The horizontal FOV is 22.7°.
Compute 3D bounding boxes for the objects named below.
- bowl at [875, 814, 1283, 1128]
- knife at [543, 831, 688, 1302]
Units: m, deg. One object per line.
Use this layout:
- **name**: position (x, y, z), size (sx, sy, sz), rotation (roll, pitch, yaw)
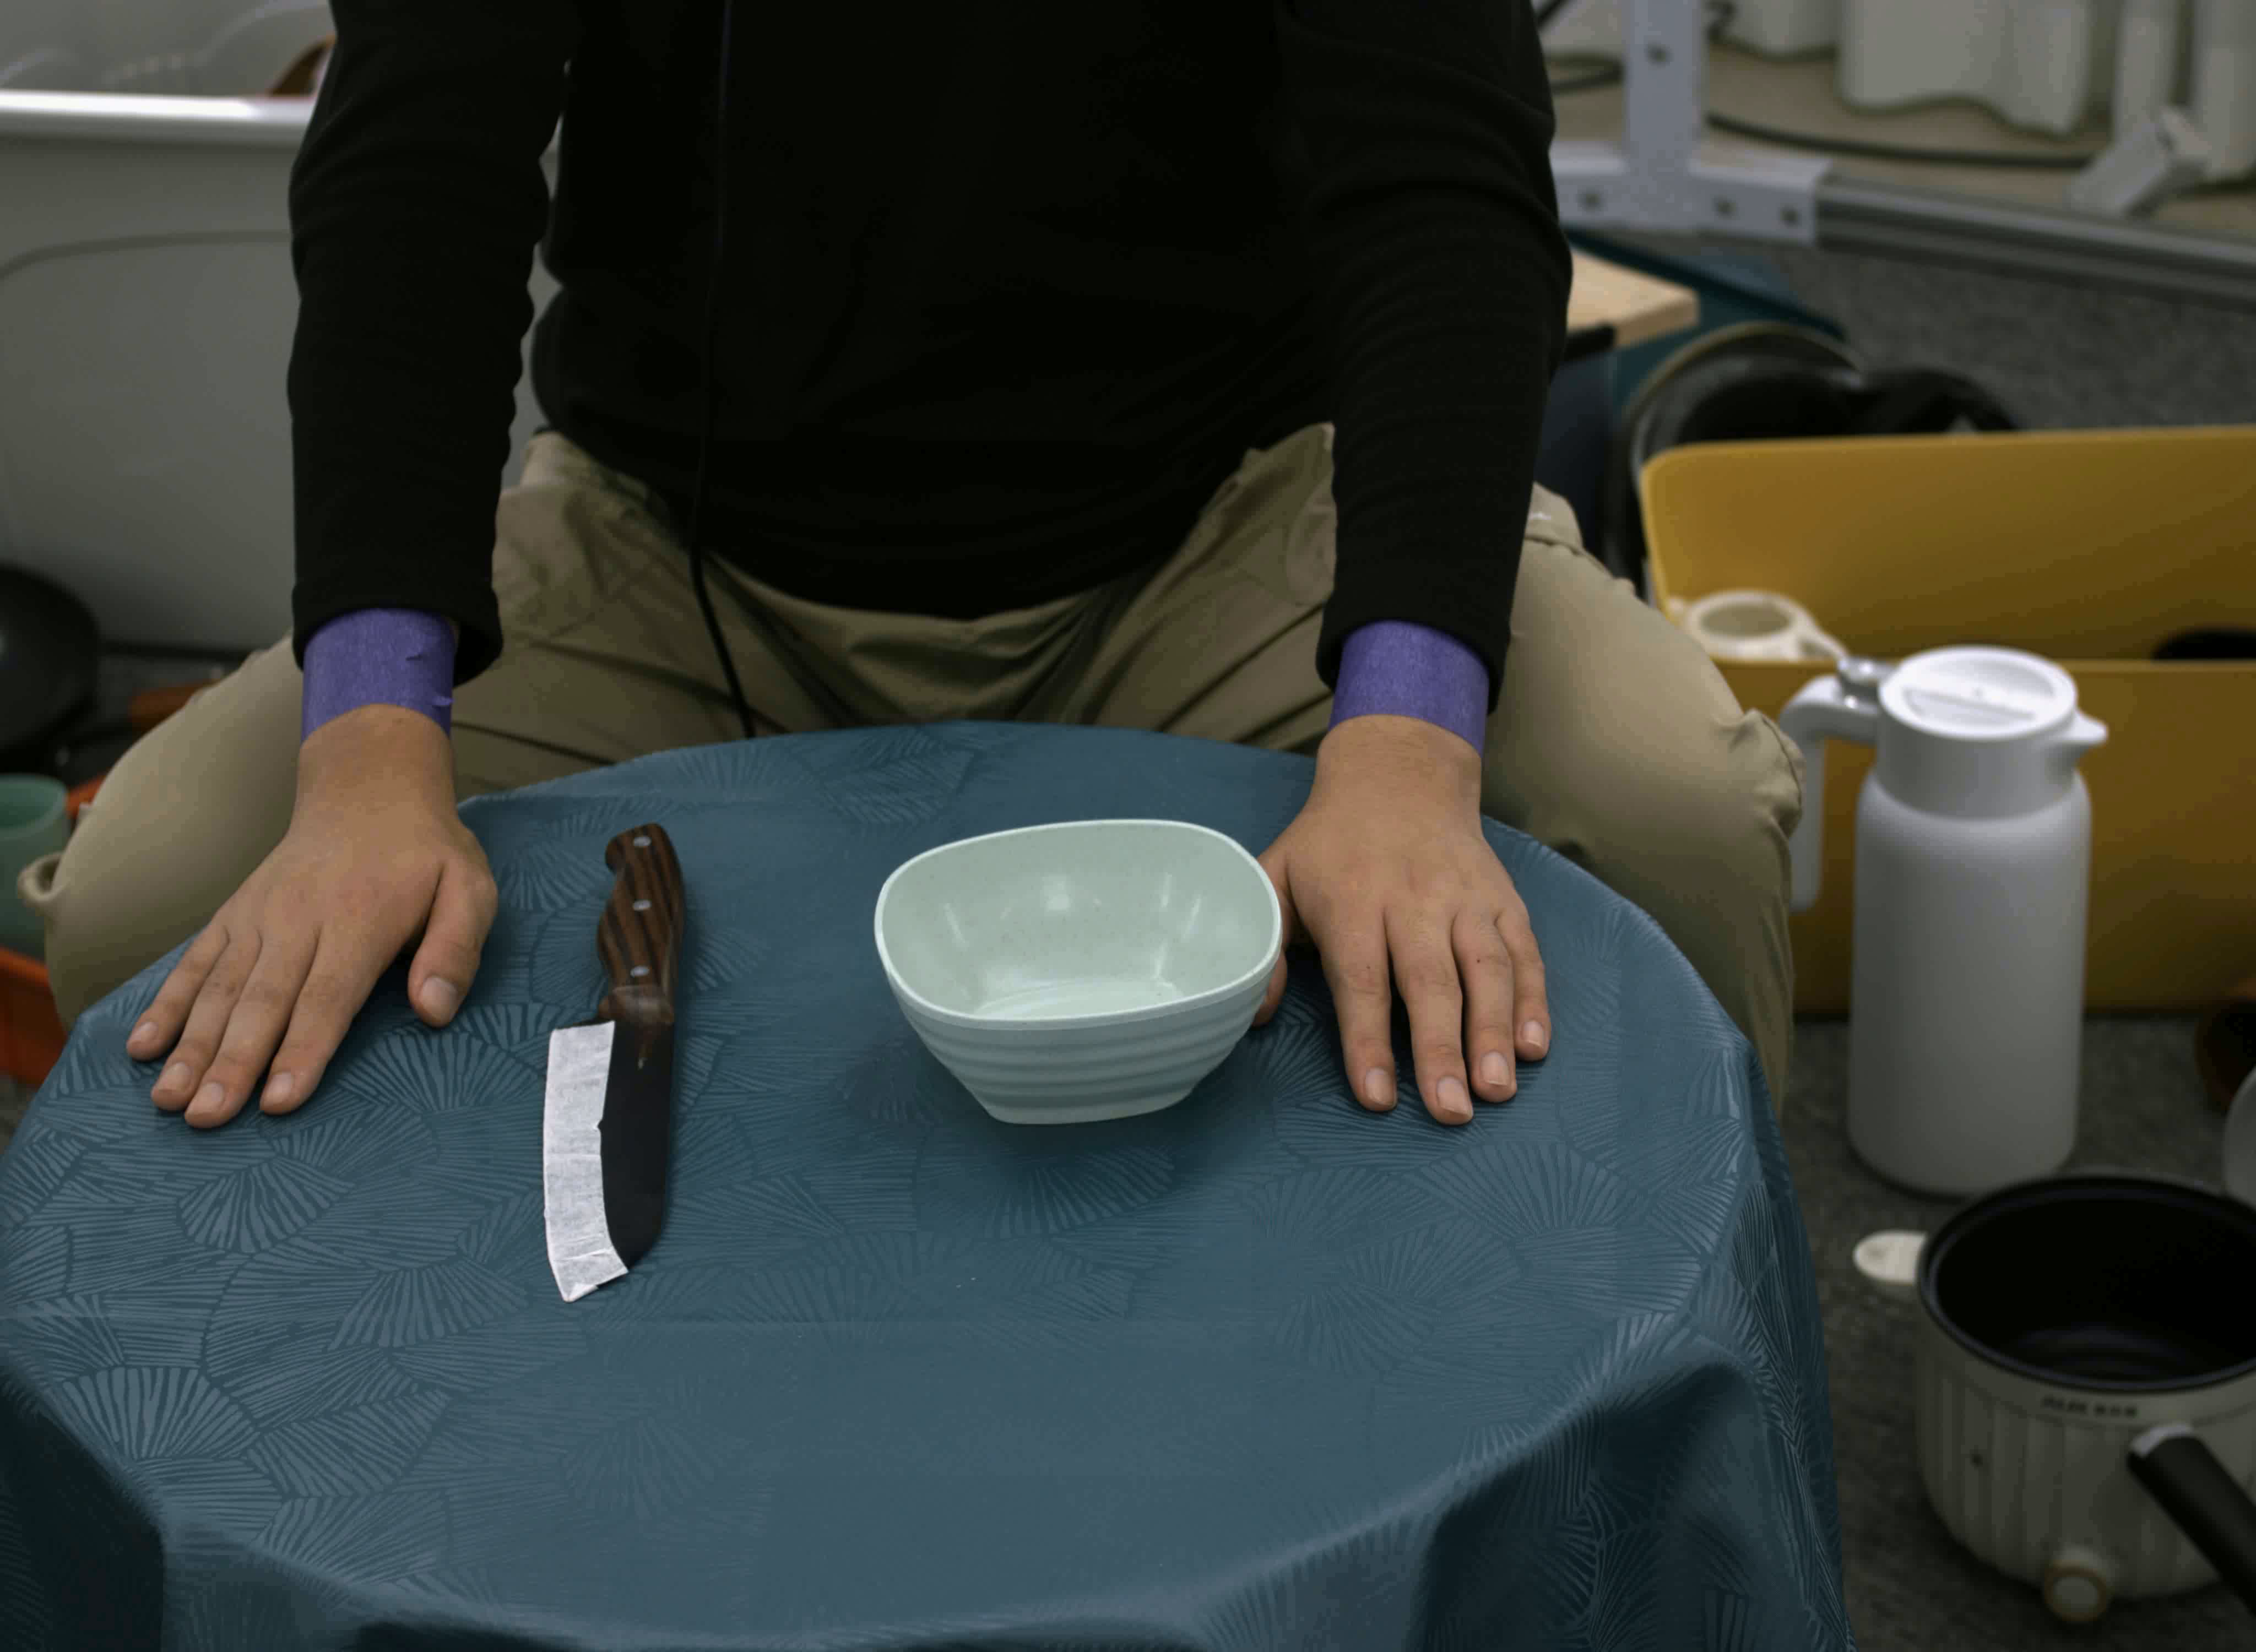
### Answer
- **bowl**: position (-0.016, 0.056, 1.927), size (0.151, 0.058, 0.154), rotation (-2, 29, 2)
- **knife**: position (-0.176, 0.081, 1.938), size (0.050, 0.020, 0.294), rotation (-6, 29, 4)
